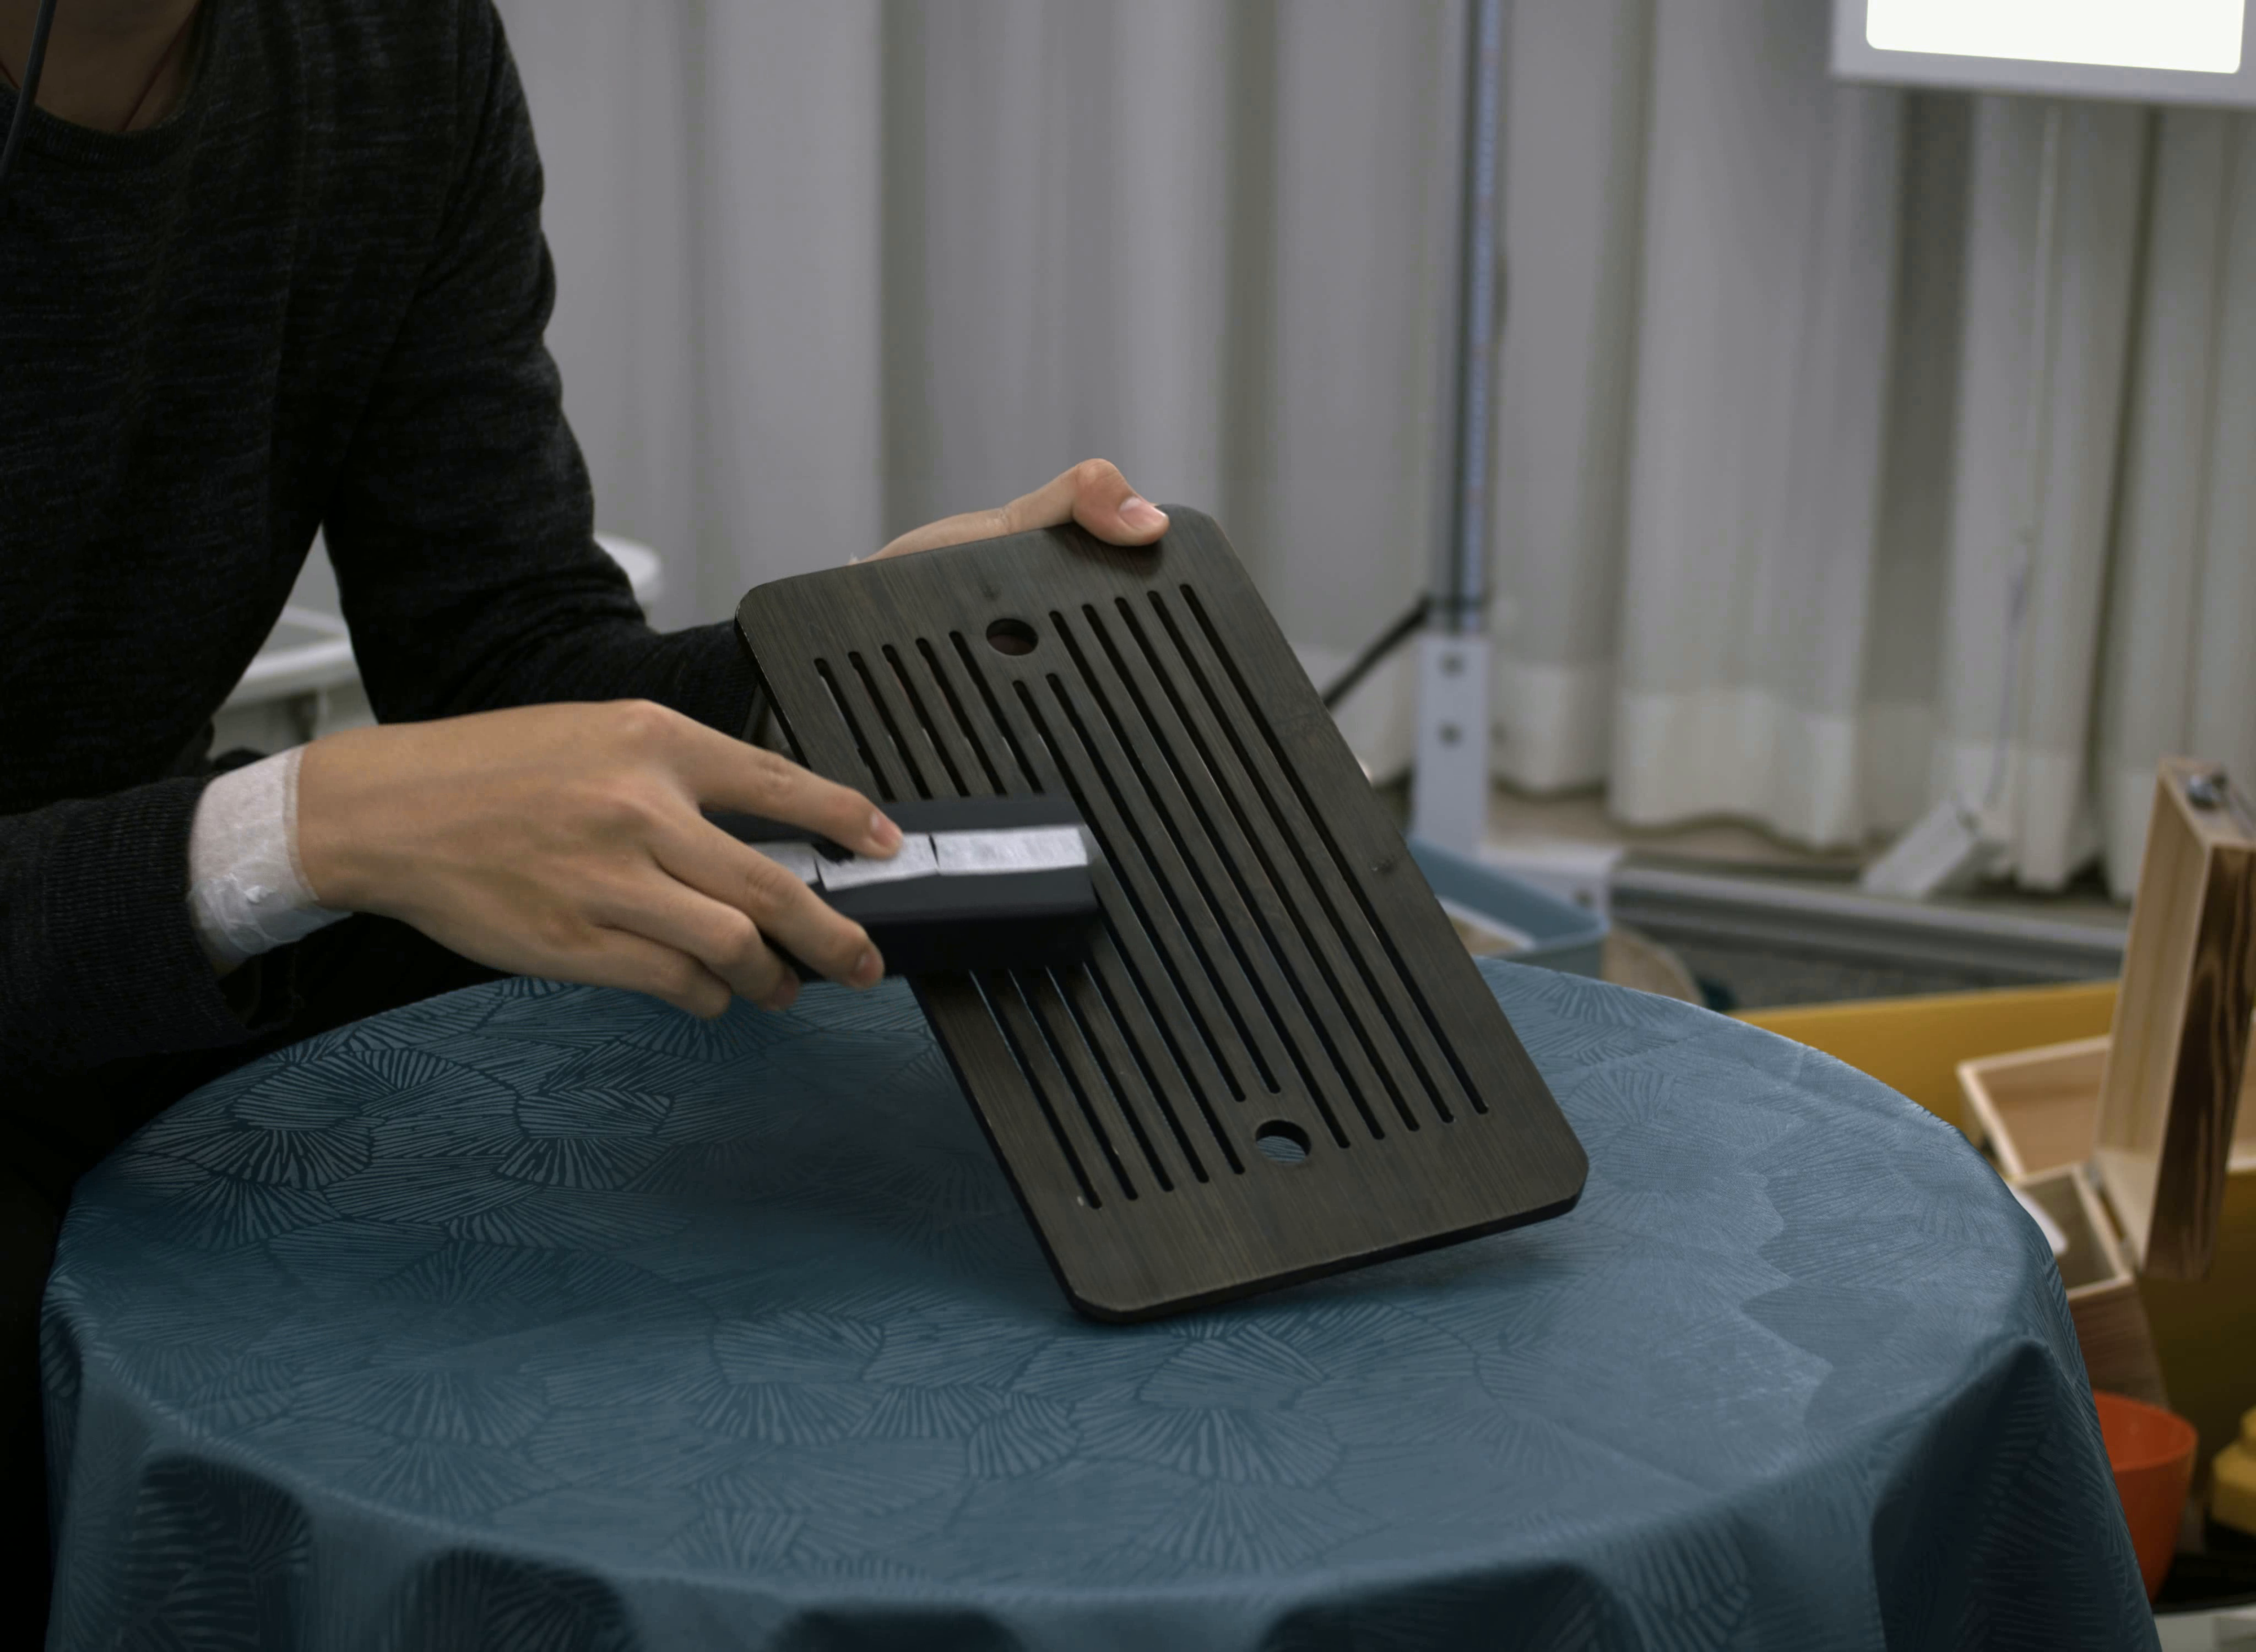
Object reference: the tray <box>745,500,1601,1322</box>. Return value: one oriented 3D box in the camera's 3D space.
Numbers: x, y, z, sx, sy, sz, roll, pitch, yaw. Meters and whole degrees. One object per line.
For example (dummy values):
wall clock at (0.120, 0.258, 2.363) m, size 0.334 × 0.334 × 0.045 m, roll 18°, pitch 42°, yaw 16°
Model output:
tray at (0.009, 0.020, 1.623) m, size 0.170 × 0.019 × 0.302 m, roll -12°, pitch 52°, yaw -21°

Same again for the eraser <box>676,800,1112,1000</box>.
eraser at (-0.071, 0.021, 1.577) m, size 0.125 × 0.031 × 0.053 m, roll -4°, pitch 47°, yaw -13°
